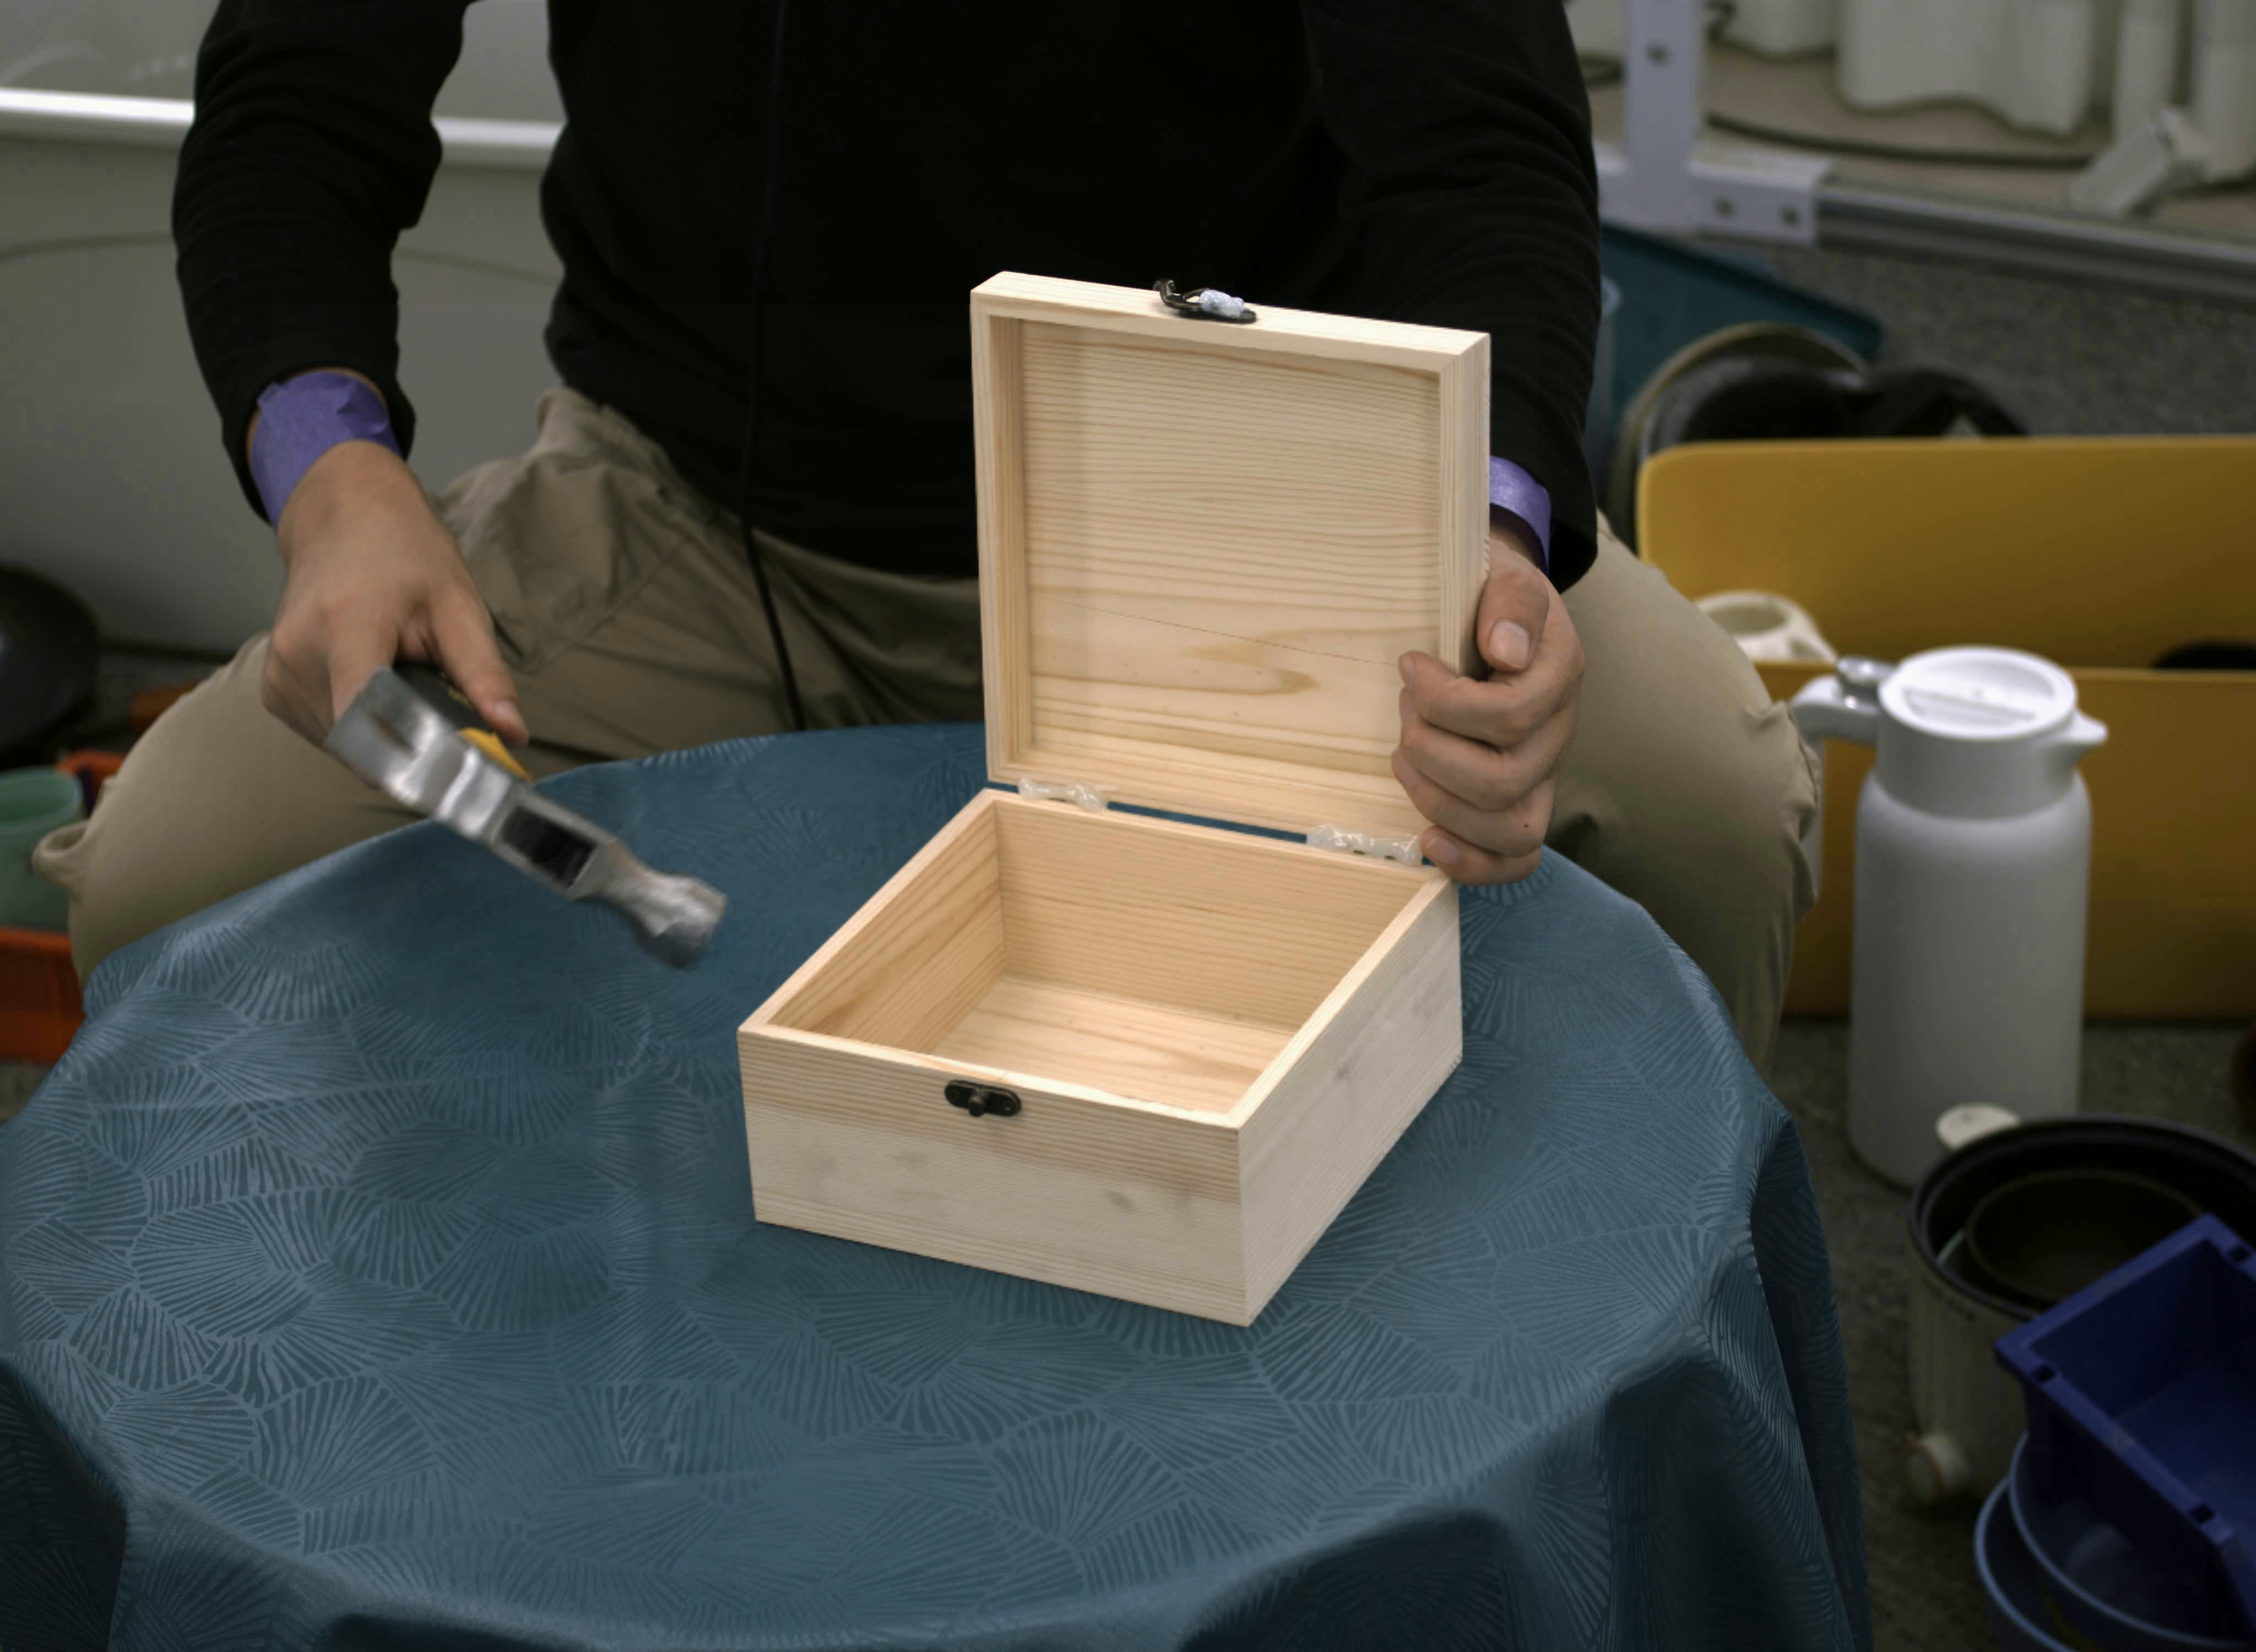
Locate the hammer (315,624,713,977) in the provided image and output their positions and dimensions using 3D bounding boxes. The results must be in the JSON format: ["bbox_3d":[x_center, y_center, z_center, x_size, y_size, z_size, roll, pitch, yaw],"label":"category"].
[{"bbox_3d":[-0.232,-0.027,1.952,0.131,0.032,0.339,32,2,-18],"label":"hammer"}]

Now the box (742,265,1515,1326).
[{"bbox_3d":[0.003,-0.019,1.862,0.180,0.251,0.269,7,29,24],"label":"box"}]
